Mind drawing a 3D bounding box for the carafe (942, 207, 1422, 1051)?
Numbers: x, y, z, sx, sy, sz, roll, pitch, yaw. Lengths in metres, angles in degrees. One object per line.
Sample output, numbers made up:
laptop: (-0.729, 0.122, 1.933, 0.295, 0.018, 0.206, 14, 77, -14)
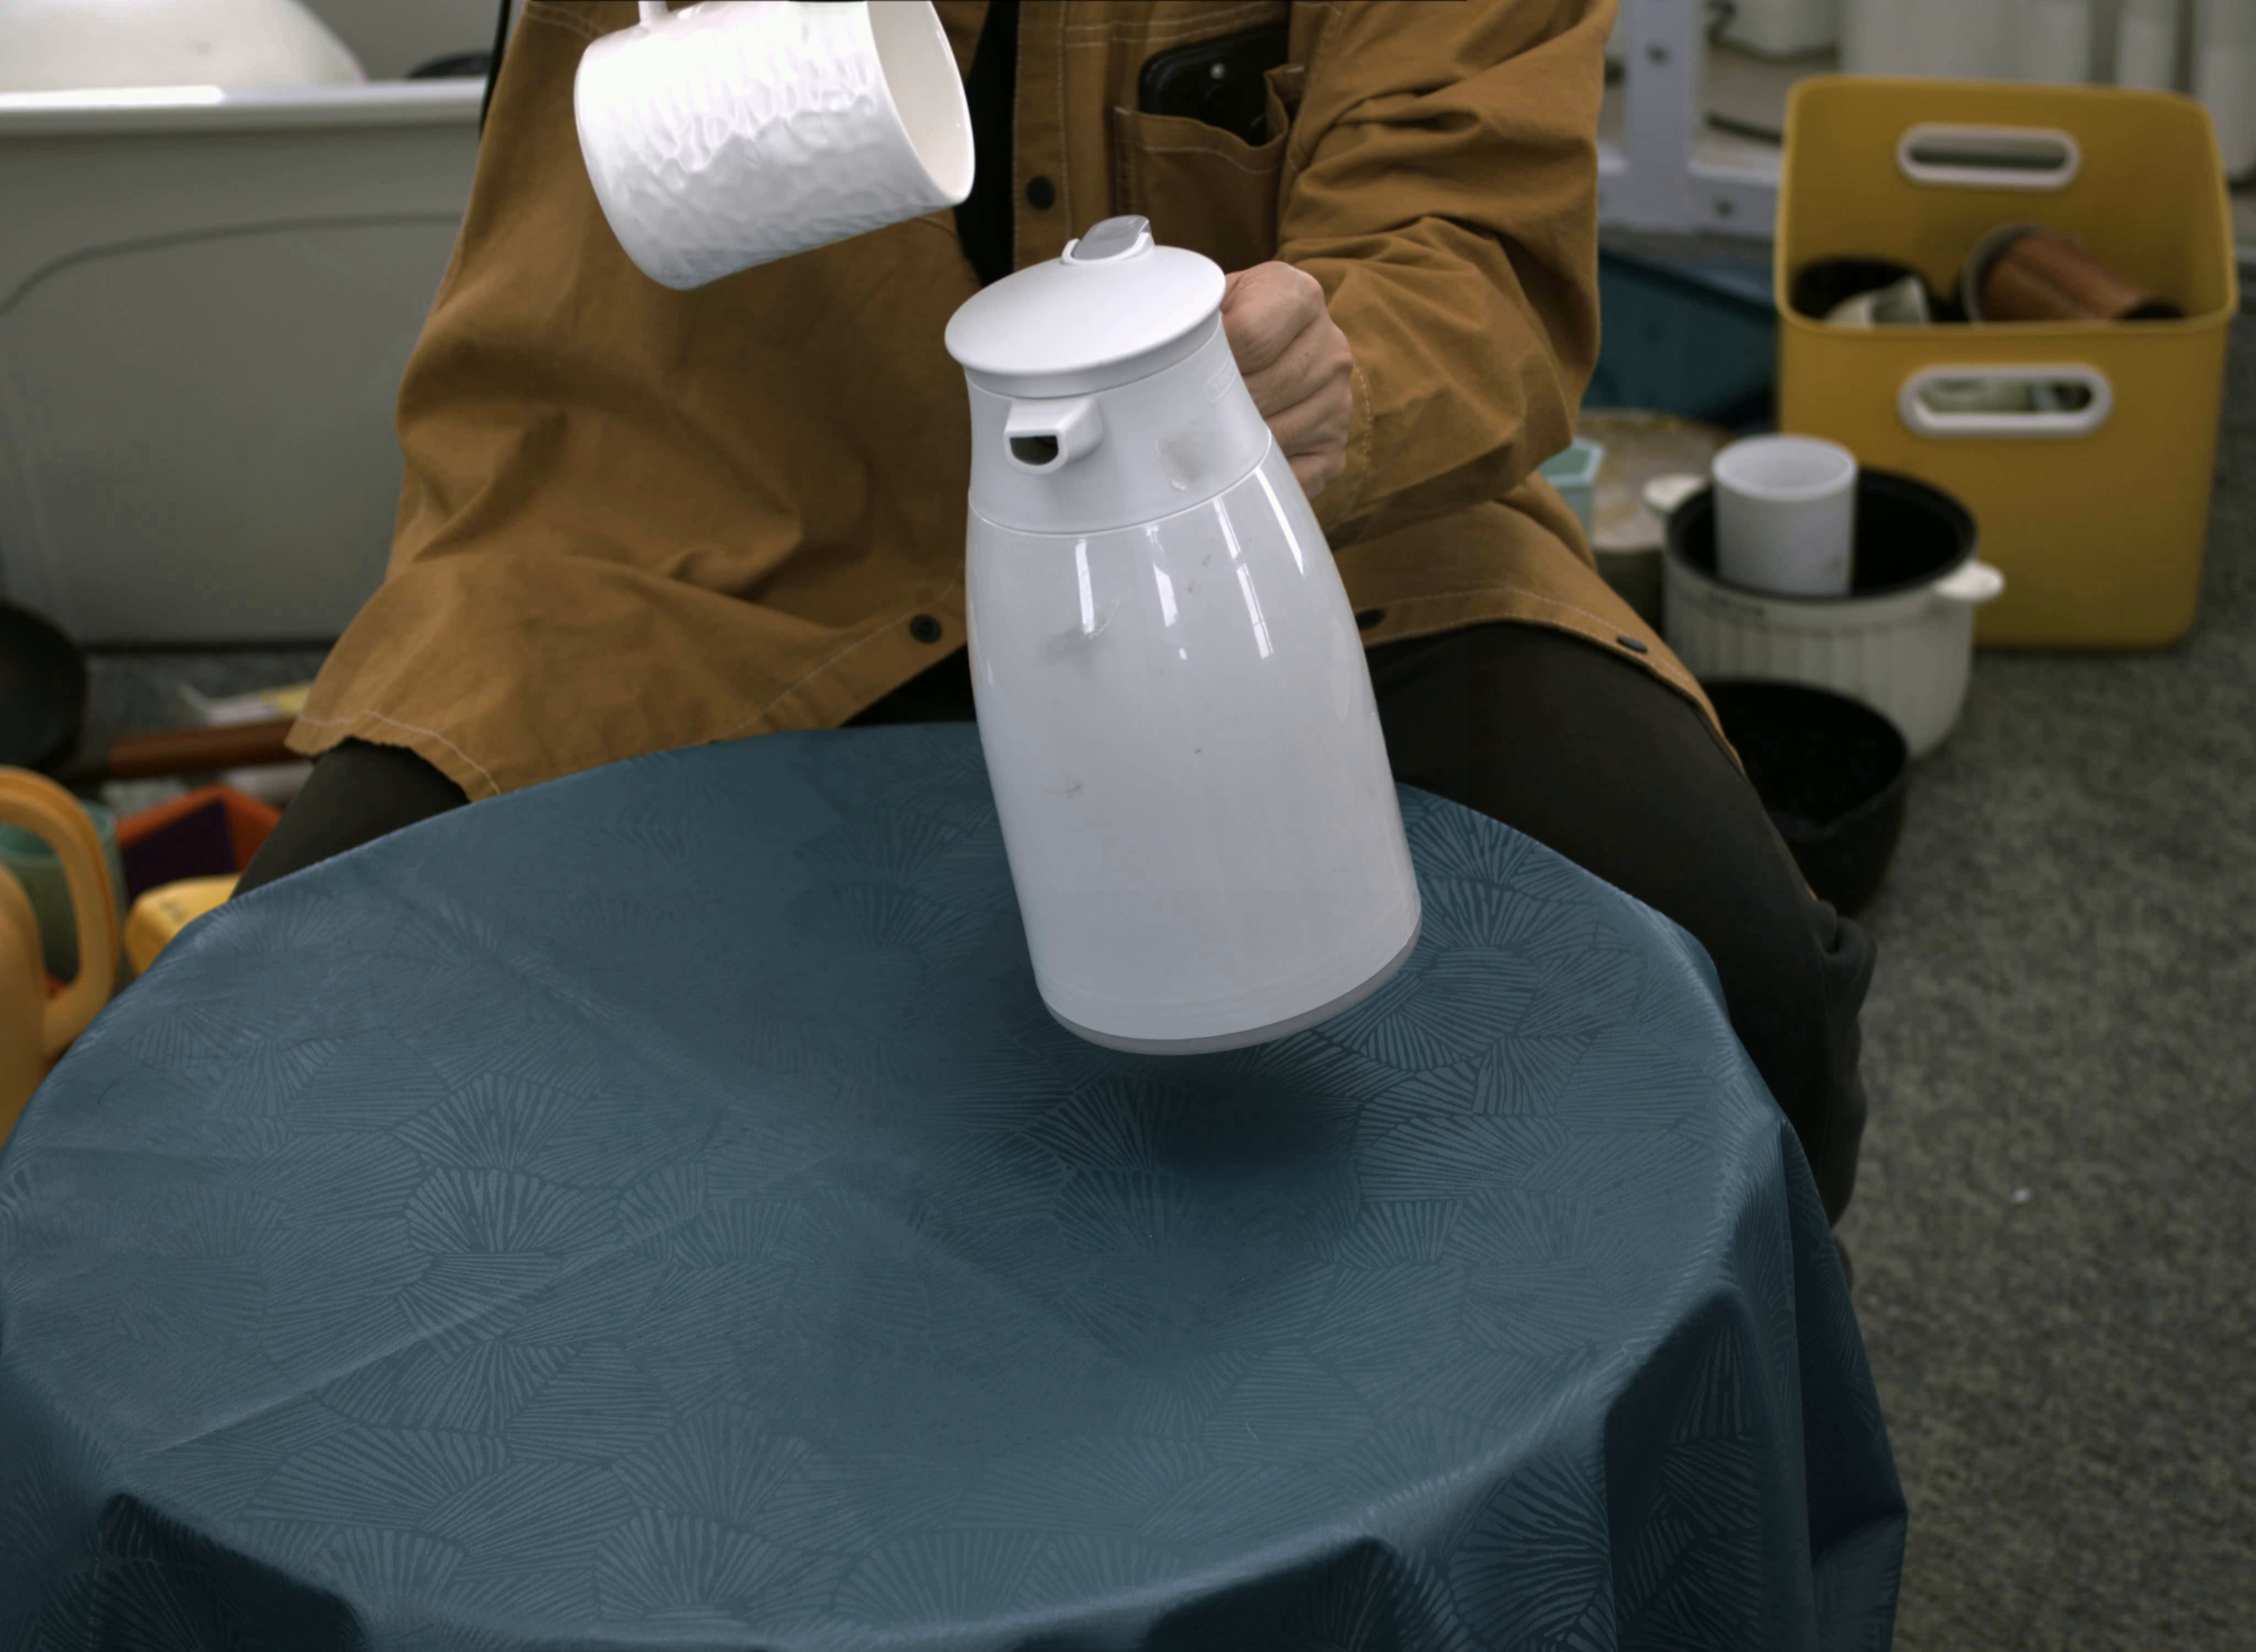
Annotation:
carafe: (0.013, -0.075, 1.850, 0.131, 0.246, 0.171, -4, 27, 20)

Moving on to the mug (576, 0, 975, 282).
mug: (-0.116, -0.239, 1.767, 0.101, 0.118, 0.086, -17, 10, 15)
